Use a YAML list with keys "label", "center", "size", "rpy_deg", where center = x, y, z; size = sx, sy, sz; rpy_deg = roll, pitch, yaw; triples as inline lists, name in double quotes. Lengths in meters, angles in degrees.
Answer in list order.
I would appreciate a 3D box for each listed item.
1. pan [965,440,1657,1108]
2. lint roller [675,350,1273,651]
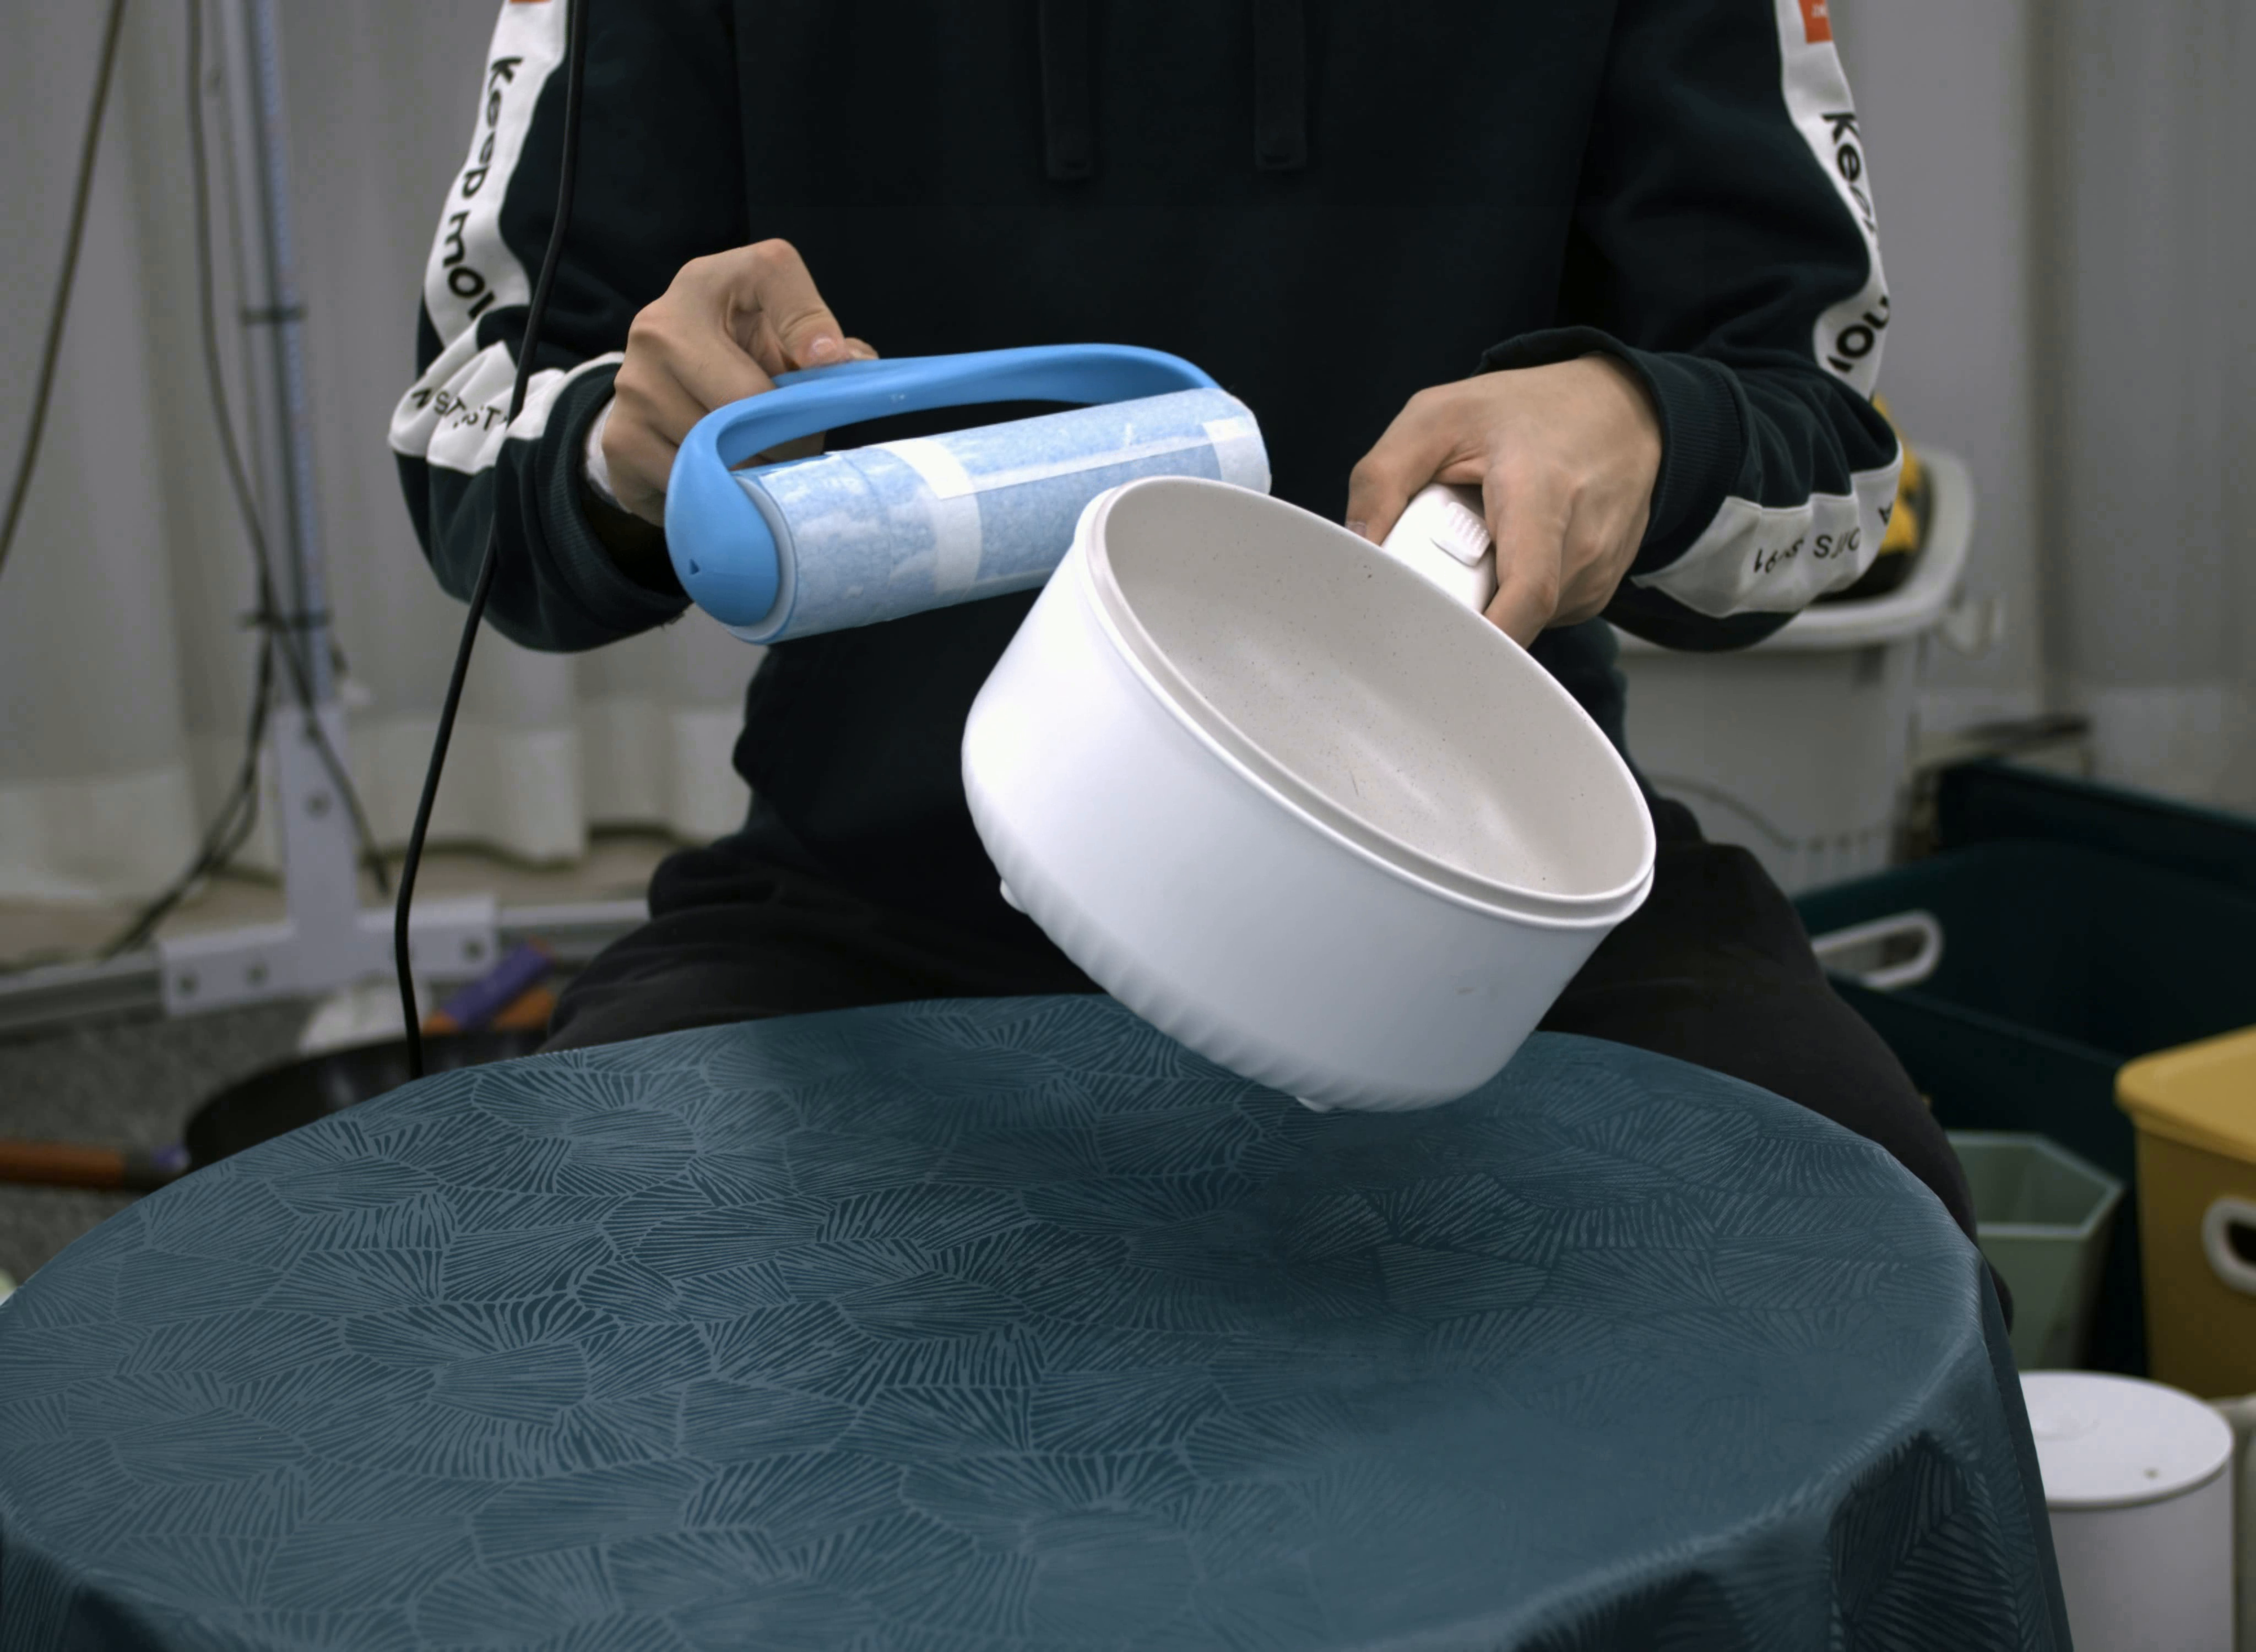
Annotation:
- label: "pan"
  center: [0.066, -0.031, 1.699]
  size: [0.201, 0.101, 0.357]
  rpy_deg: [35, 23, 0]
- label: "lint roller"
  center: [-0.085, -0.115, 1.751]
  size: [0.228, 0.067, 0.181]
  rpy_deg: [-17, 28, -42]
